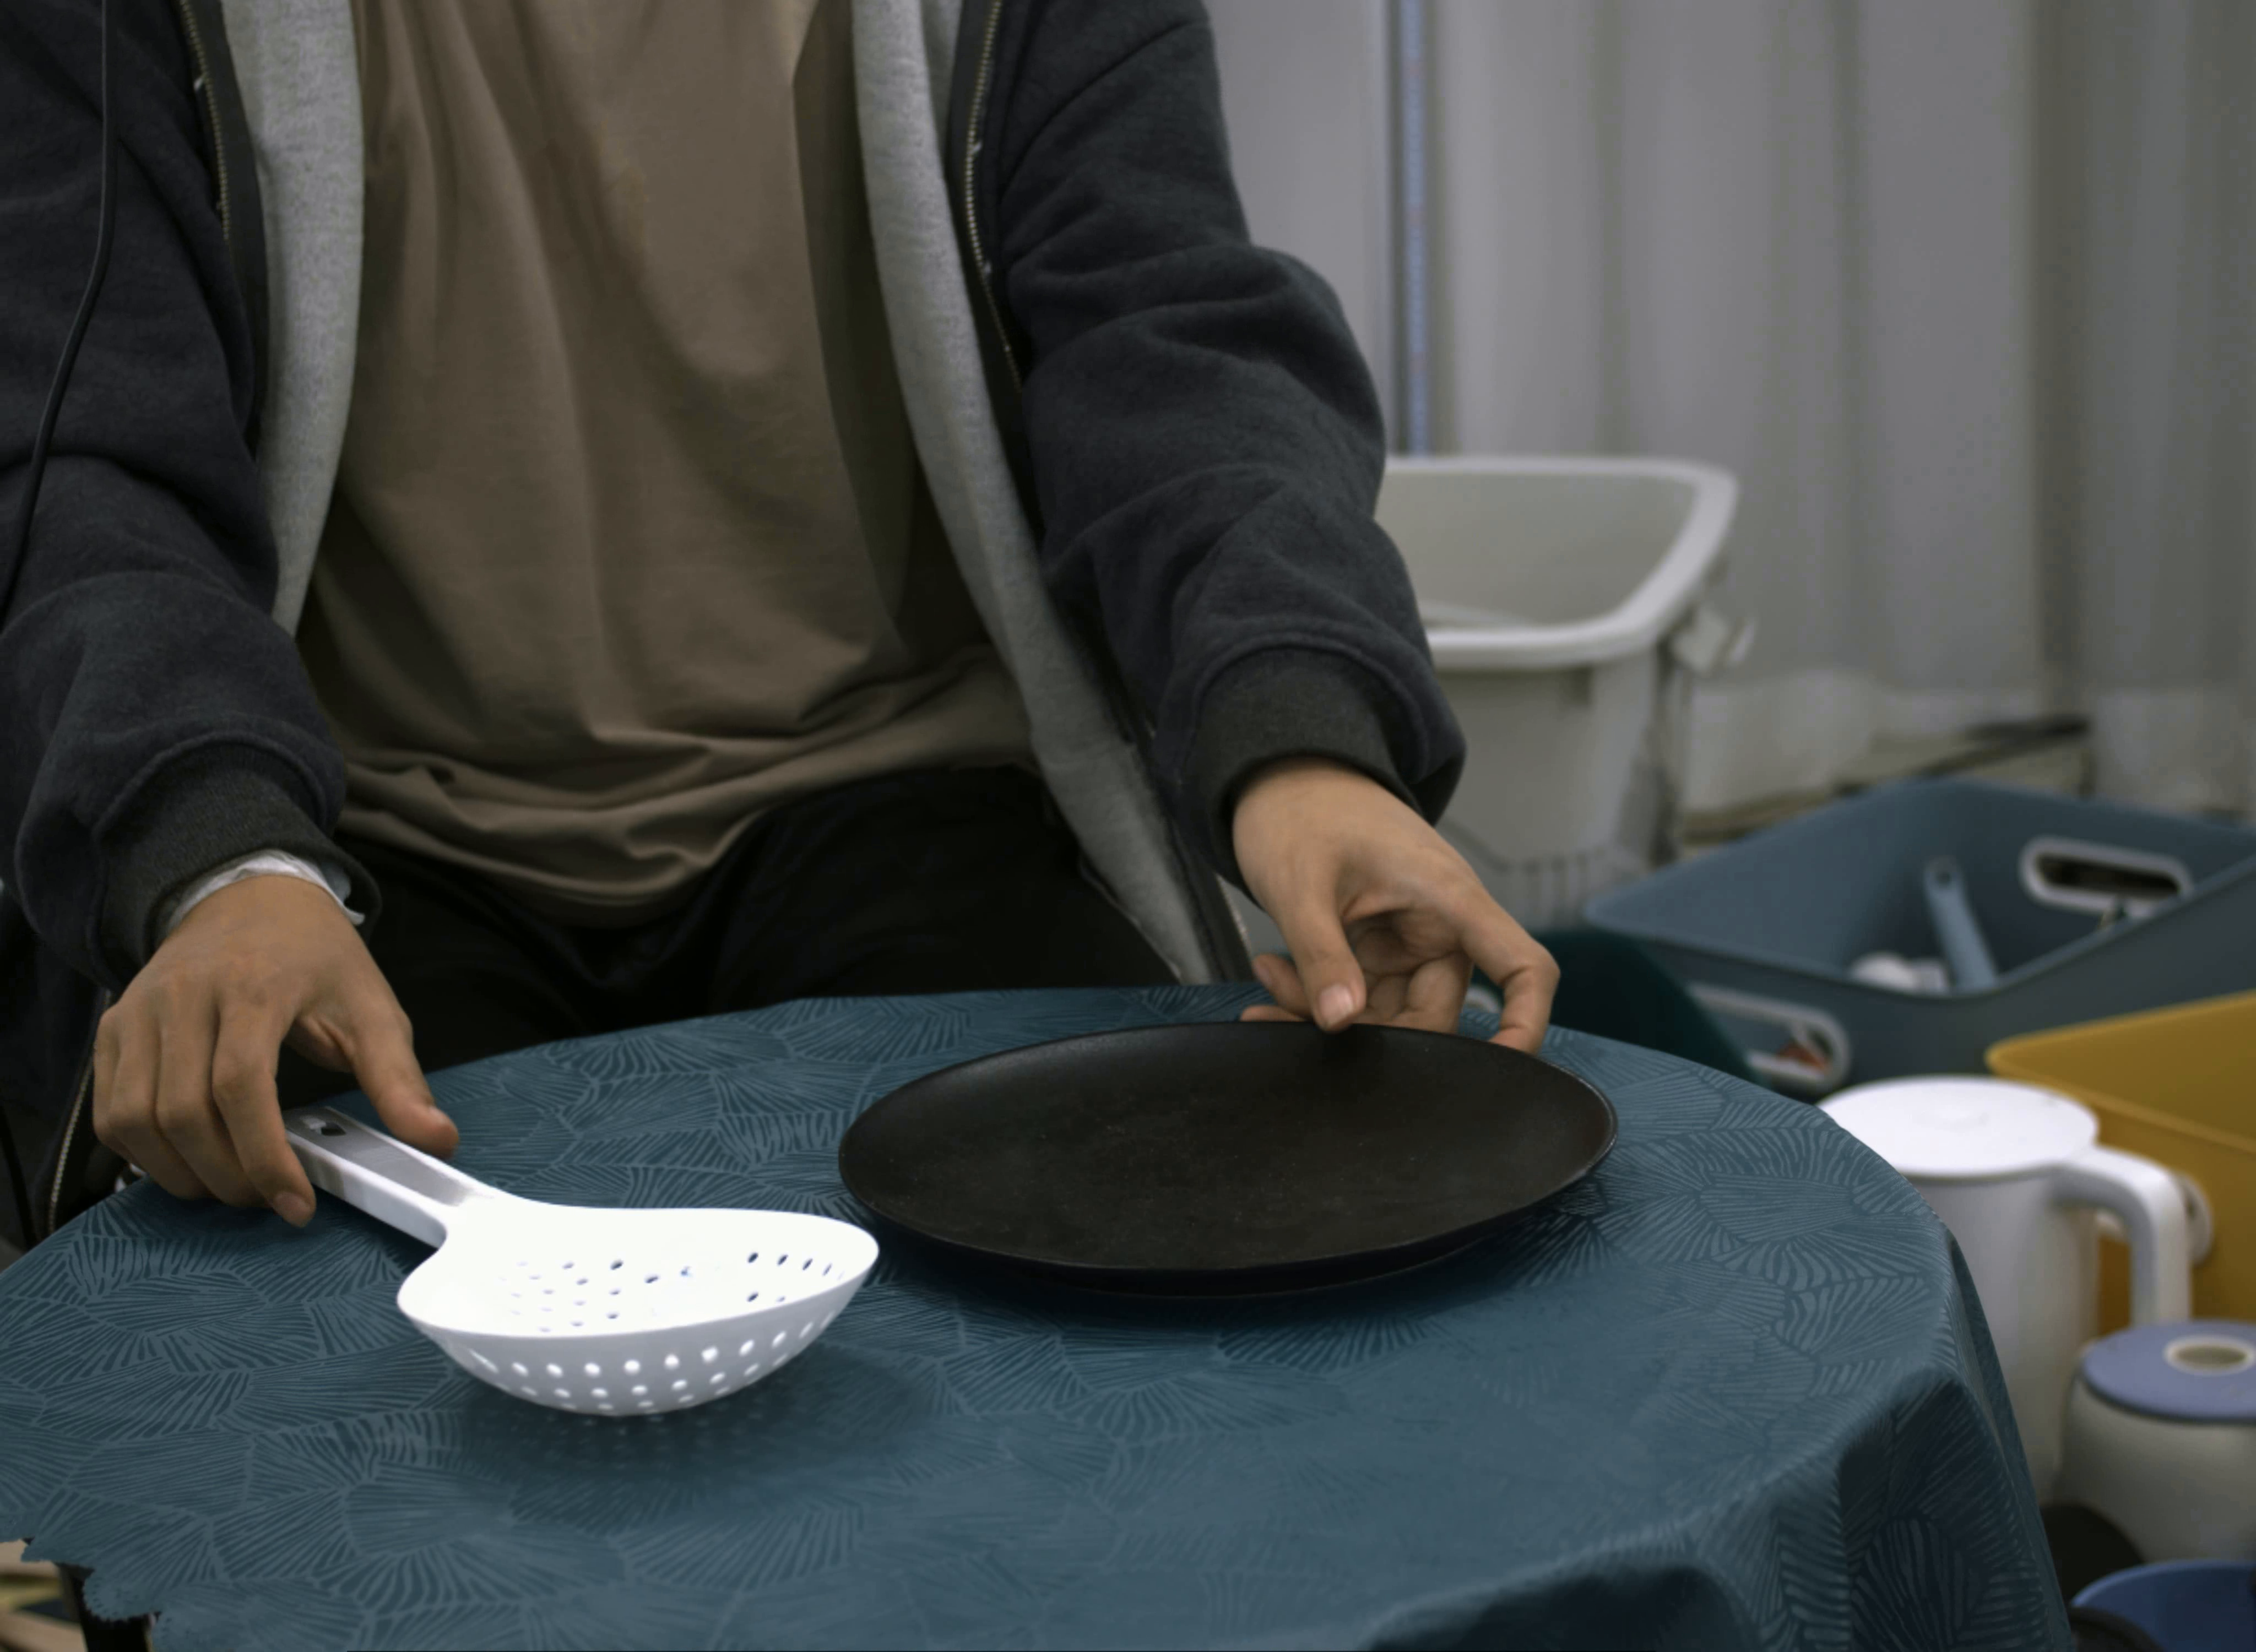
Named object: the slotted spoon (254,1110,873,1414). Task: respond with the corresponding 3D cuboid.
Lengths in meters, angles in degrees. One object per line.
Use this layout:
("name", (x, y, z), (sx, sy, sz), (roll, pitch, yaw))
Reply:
("slotted spoon", (-0.192, 0.121, 1.642), (0.135, 0.045, 0.352), (-9, 15, -28))

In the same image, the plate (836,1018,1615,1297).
("plate", (0.030, 0.105, 1.700), (0.243, 0.023, 0.246), (-3, 15, 0))
